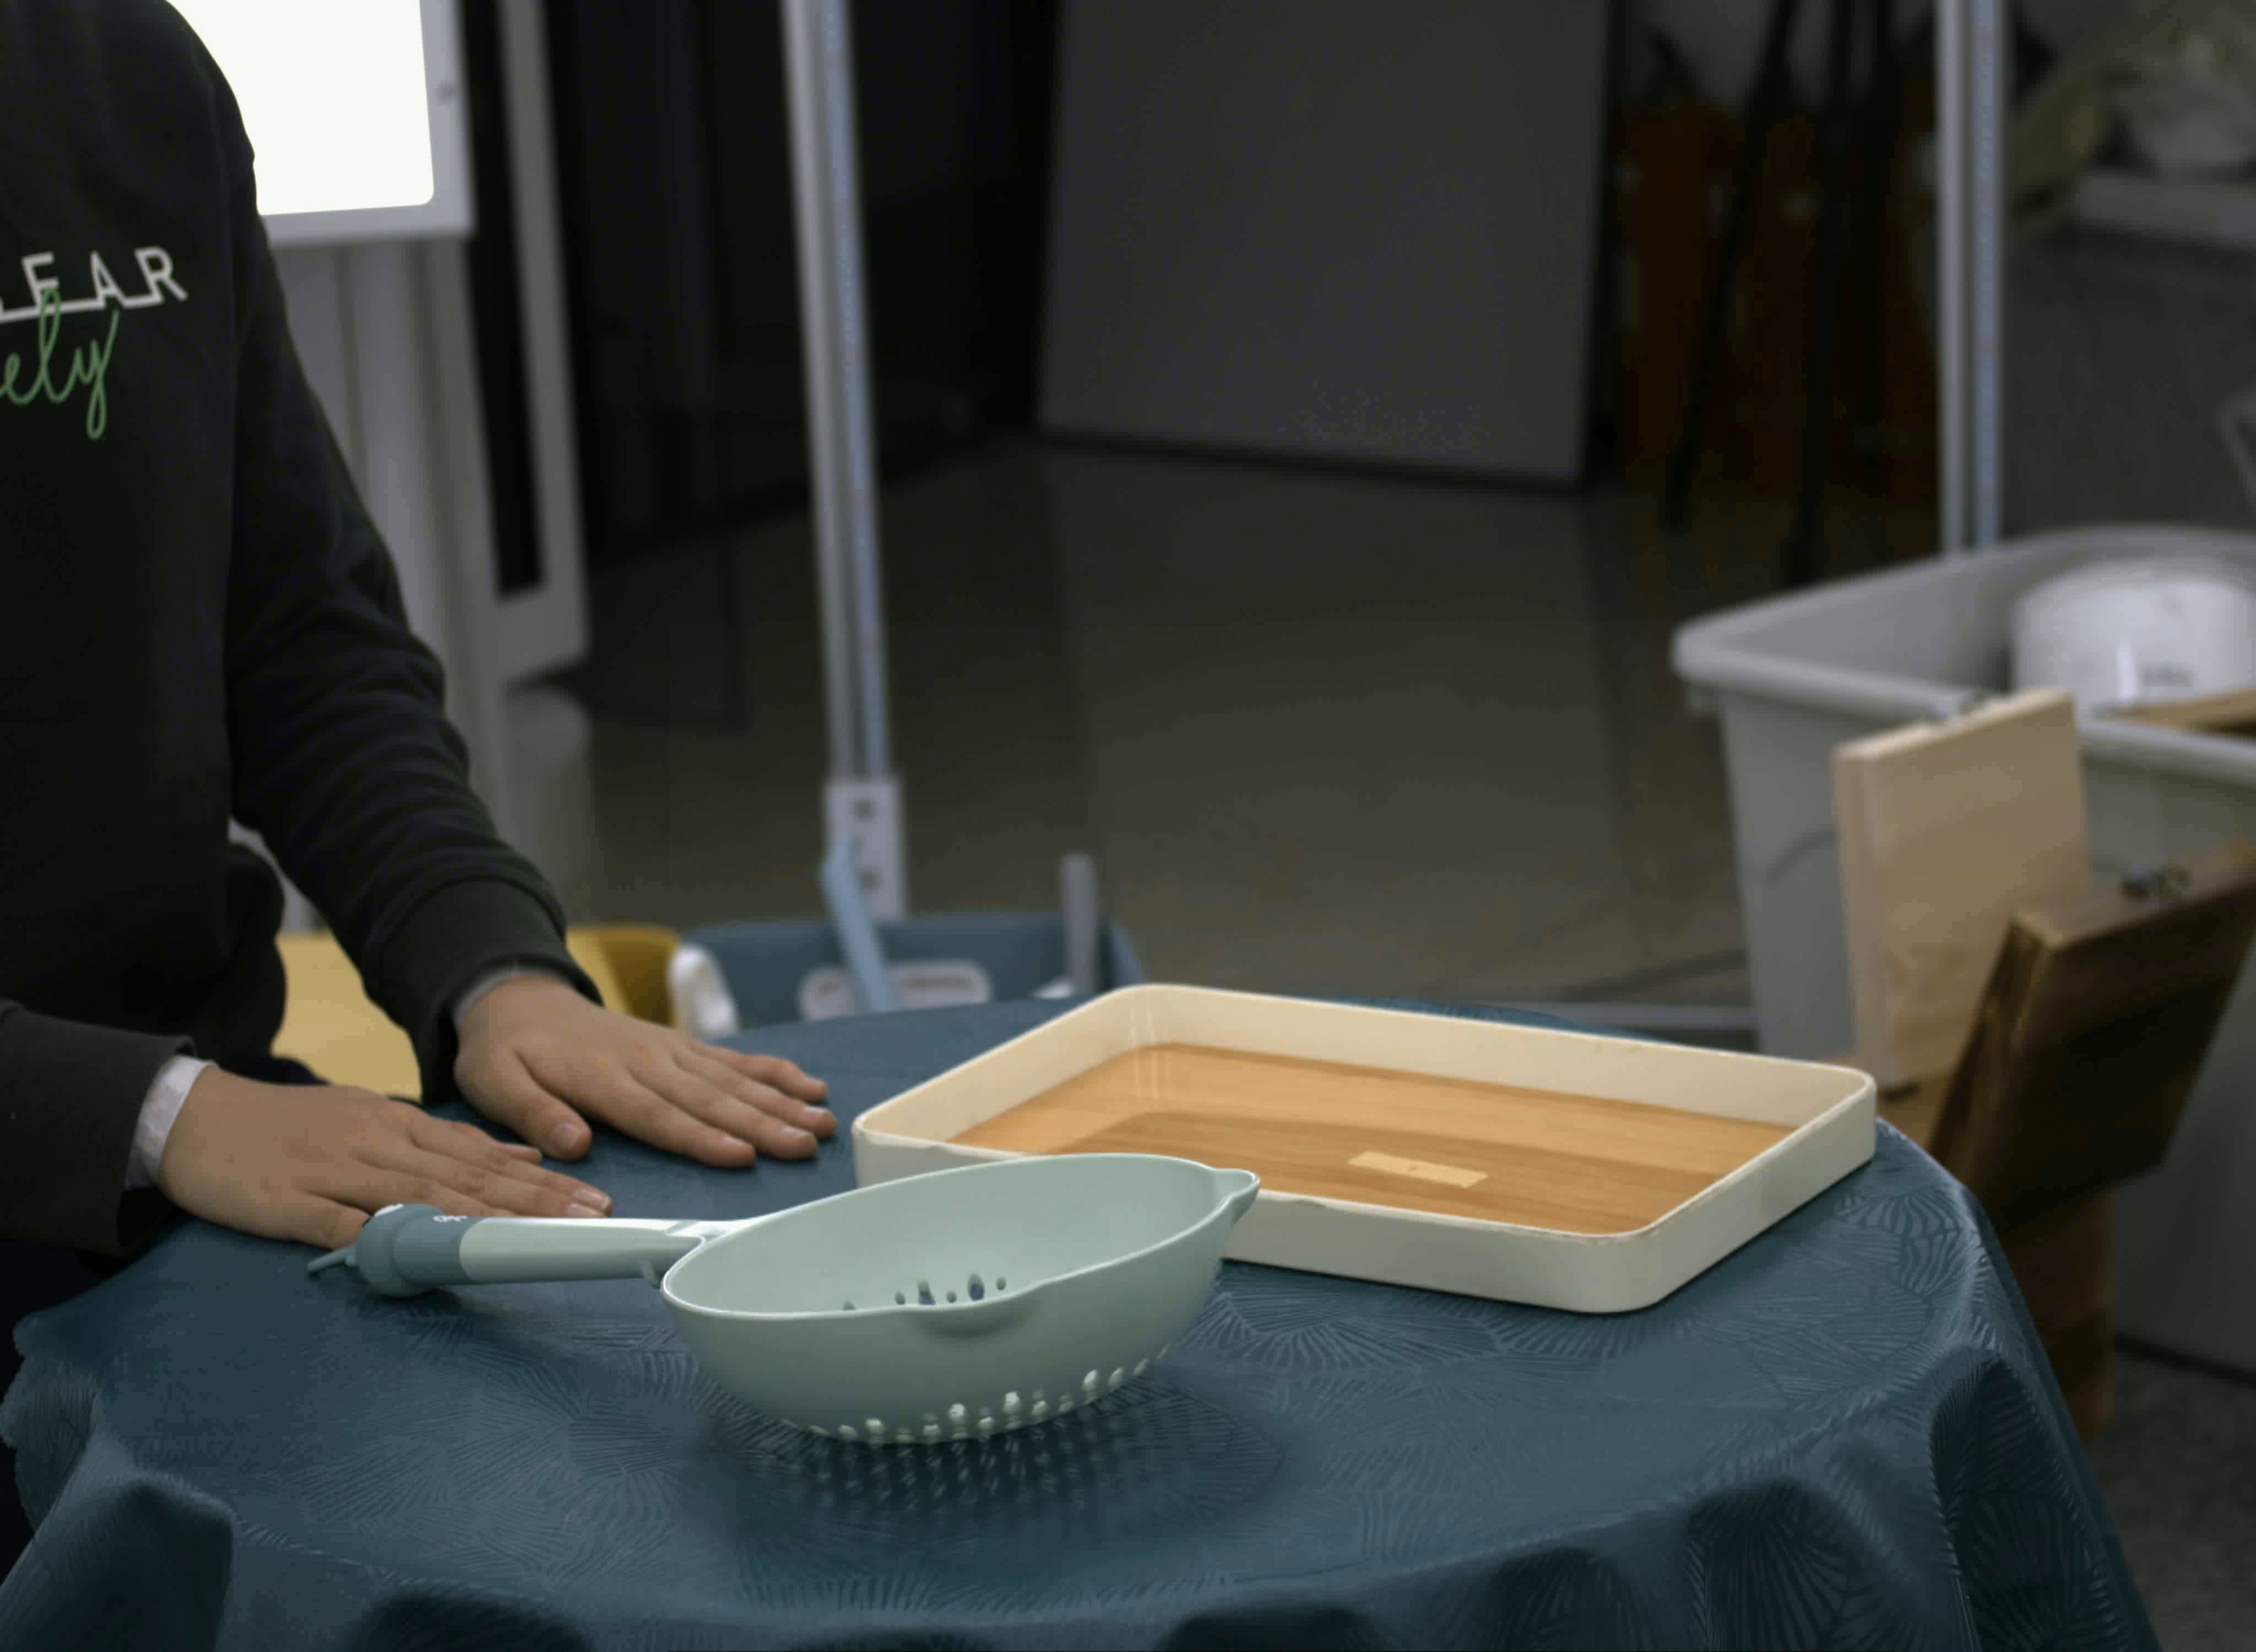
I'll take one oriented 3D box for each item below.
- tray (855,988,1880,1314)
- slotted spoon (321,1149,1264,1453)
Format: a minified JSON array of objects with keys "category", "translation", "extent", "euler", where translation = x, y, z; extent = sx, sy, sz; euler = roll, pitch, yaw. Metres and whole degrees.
[{"category":"tray","translation":[0.078,0.103,1.767],"extent":[0.302,0.028,0.188],"euler":[6,17,34]},{"category":"slotted spoon","translation":[-0.122,0.133,1.624],"extent":[0.361,0.076,0.166],"euler":[8,17,40]}]
